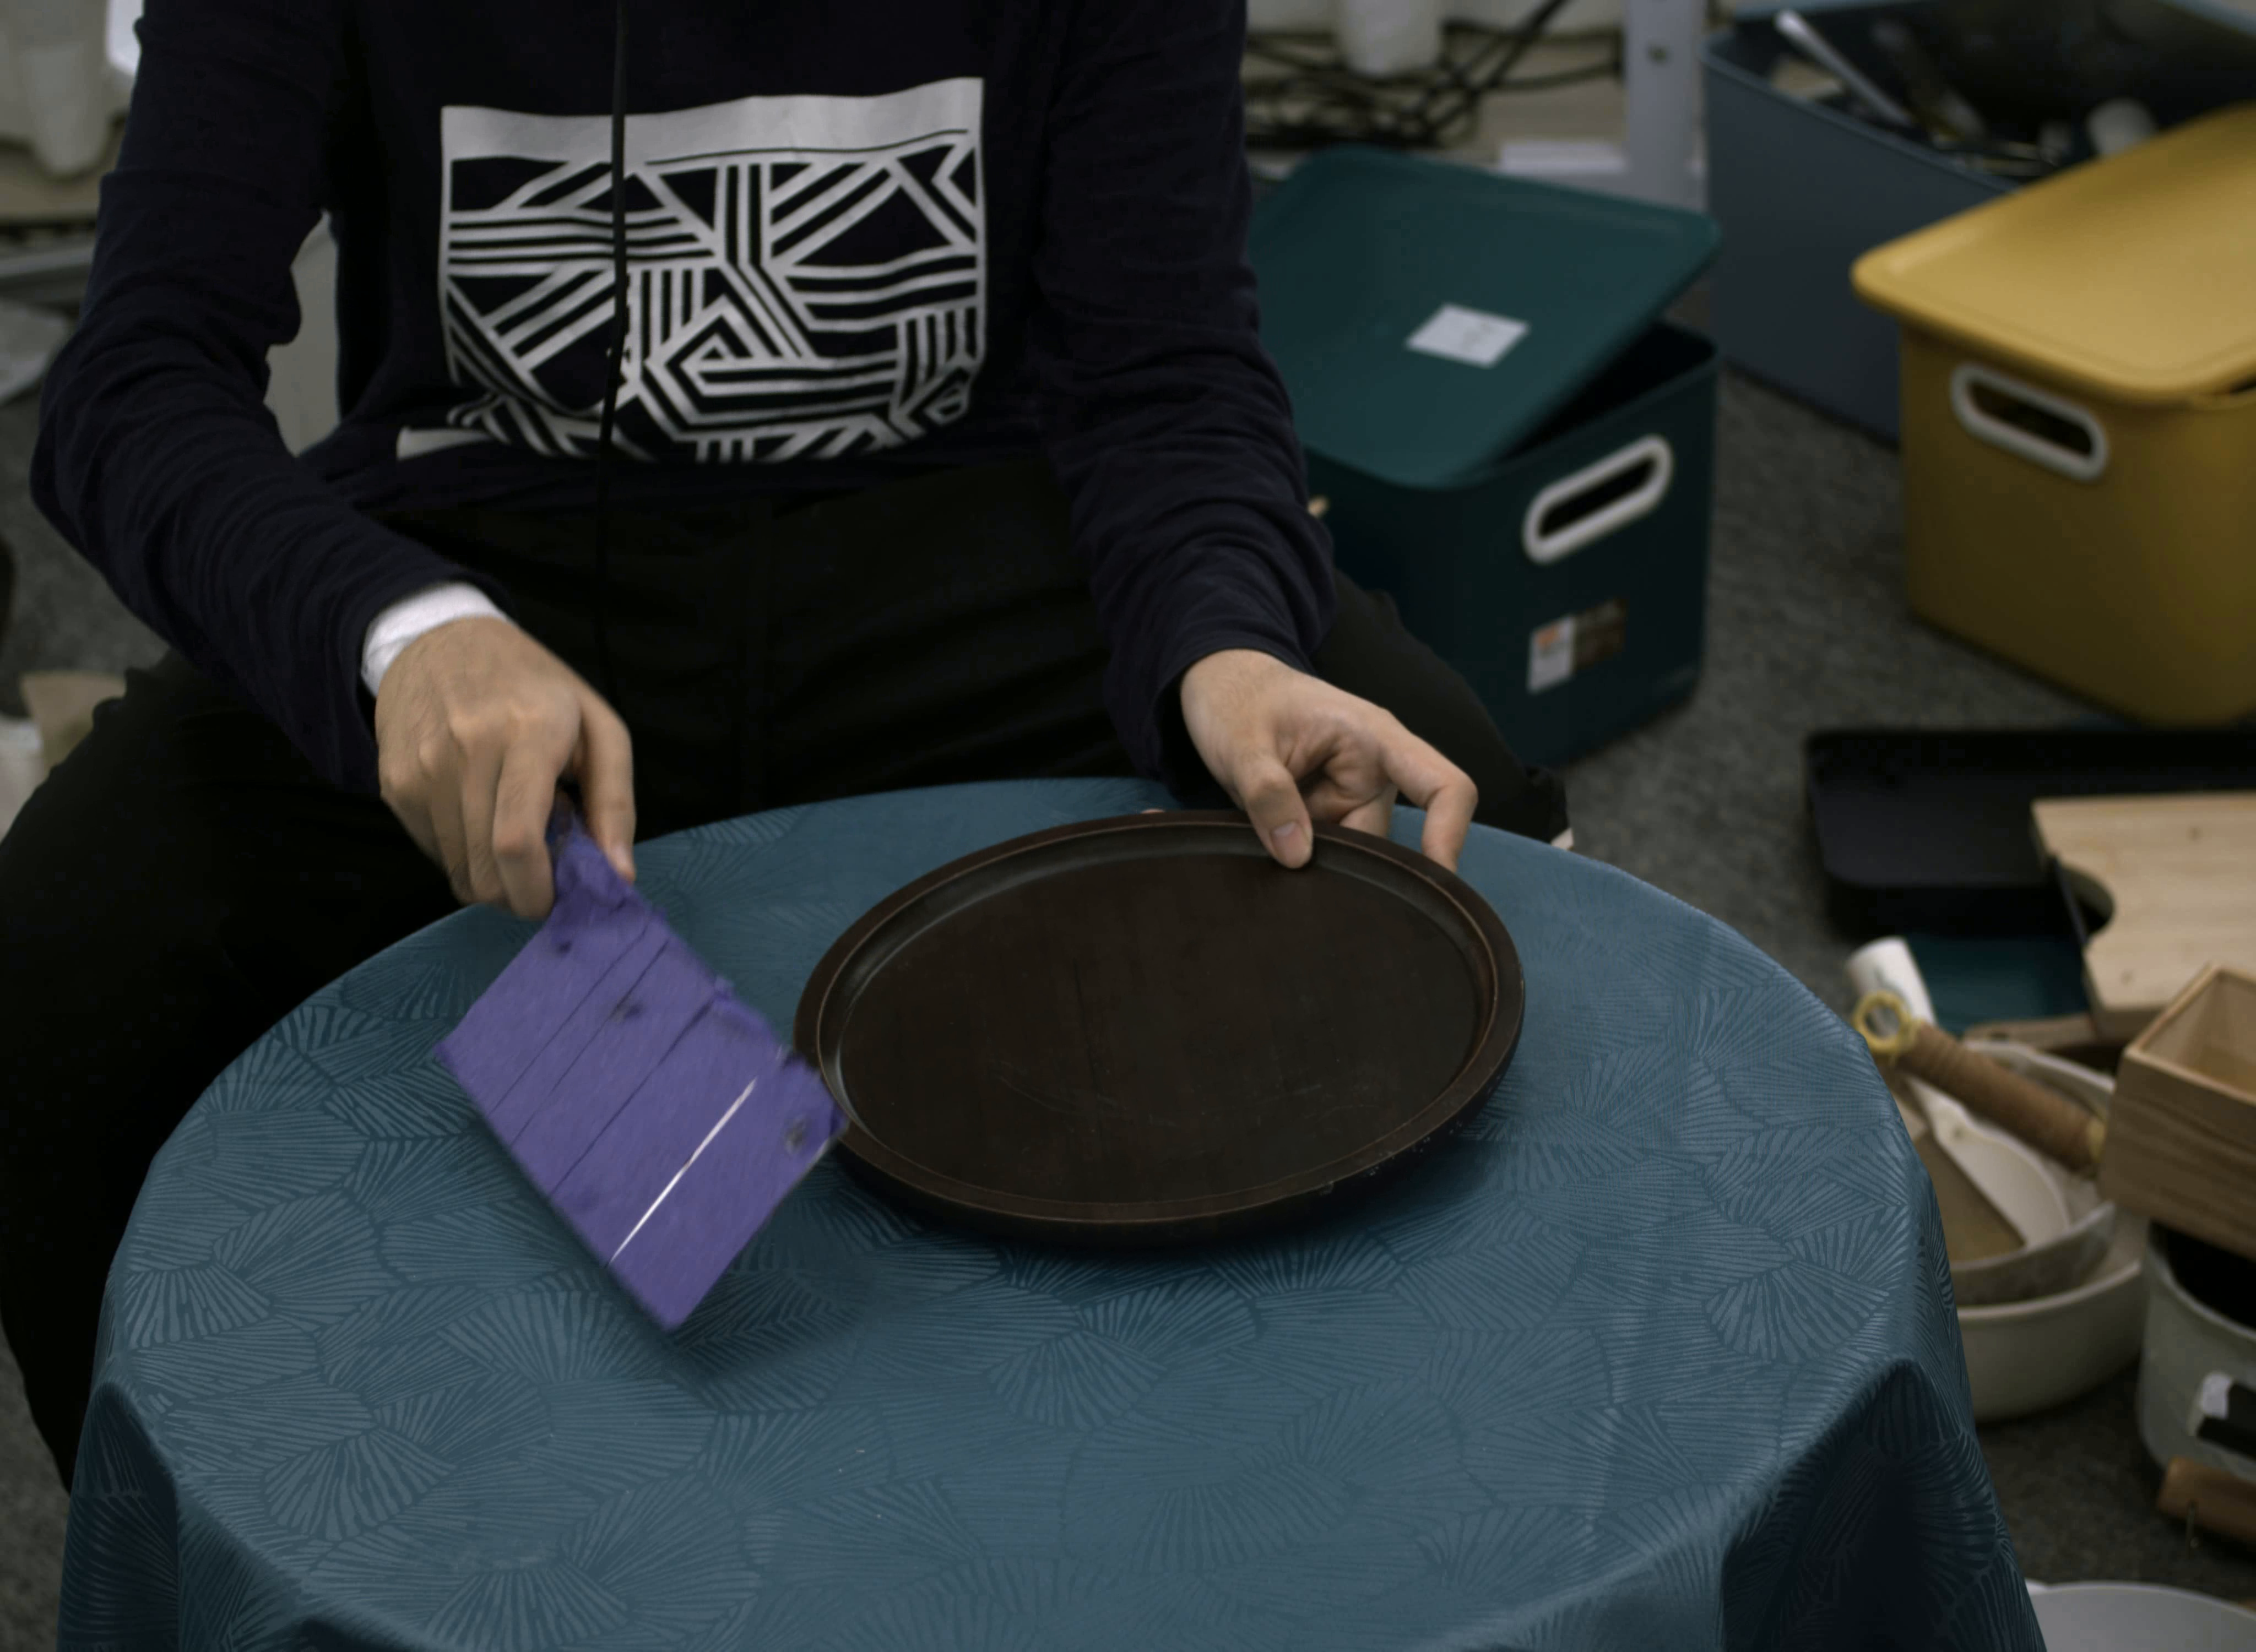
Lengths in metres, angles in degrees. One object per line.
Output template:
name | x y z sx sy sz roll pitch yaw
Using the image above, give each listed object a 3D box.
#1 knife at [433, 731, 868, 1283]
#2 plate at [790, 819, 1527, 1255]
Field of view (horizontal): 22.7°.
knife | -0.185 0.057 1.878 0.104 0.032 0.316 -49 34 -2
plate | 0.010 0.070 1.918 0.253 0.028 0.259 -3 32 2
